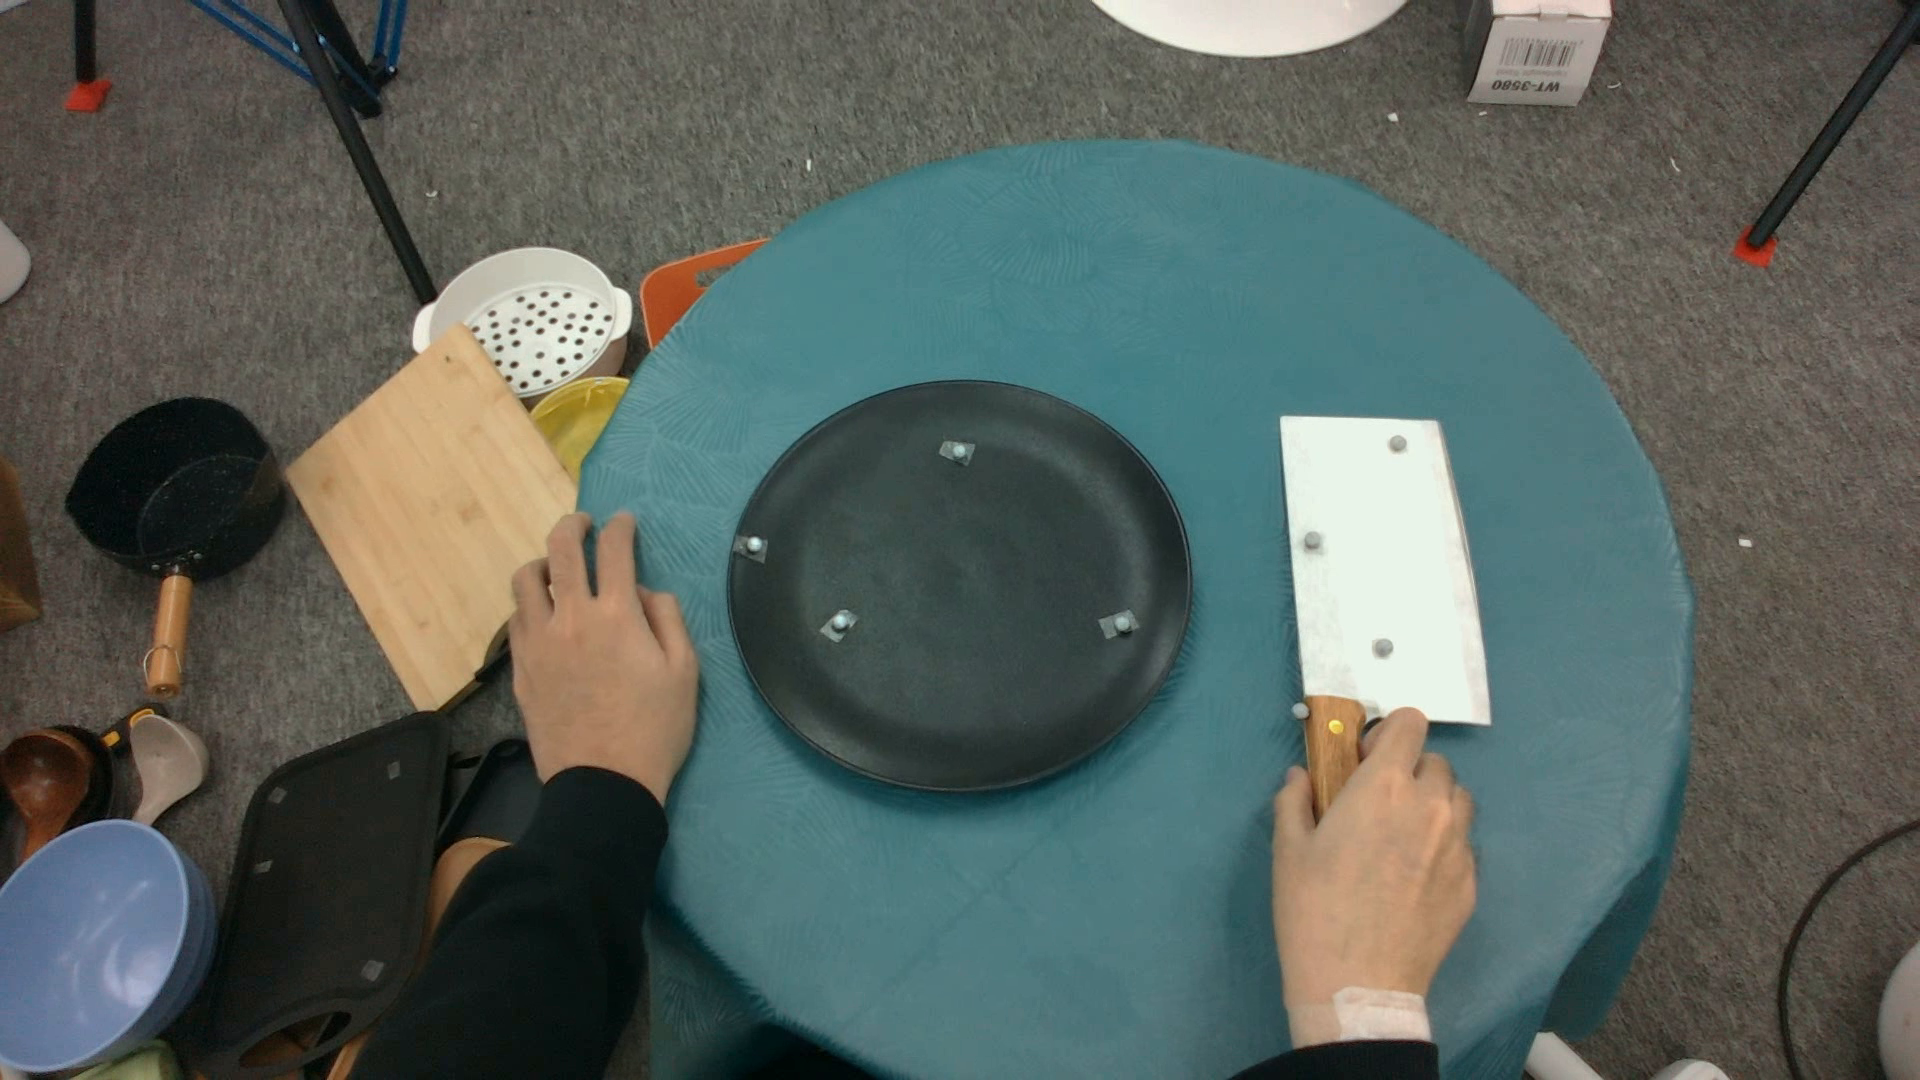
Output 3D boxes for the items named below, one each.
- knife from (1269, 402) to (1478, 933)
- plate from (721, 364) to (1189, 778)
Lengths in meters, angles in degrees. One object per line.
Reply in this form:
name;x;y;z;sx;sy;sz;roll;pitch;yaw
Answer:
knife;0.211;0.048;0.697;0.093;0.021;0.307;3;56;2
plate;-0.003;0.011;0.722;0.244;0.023;0.245;0;60;1
